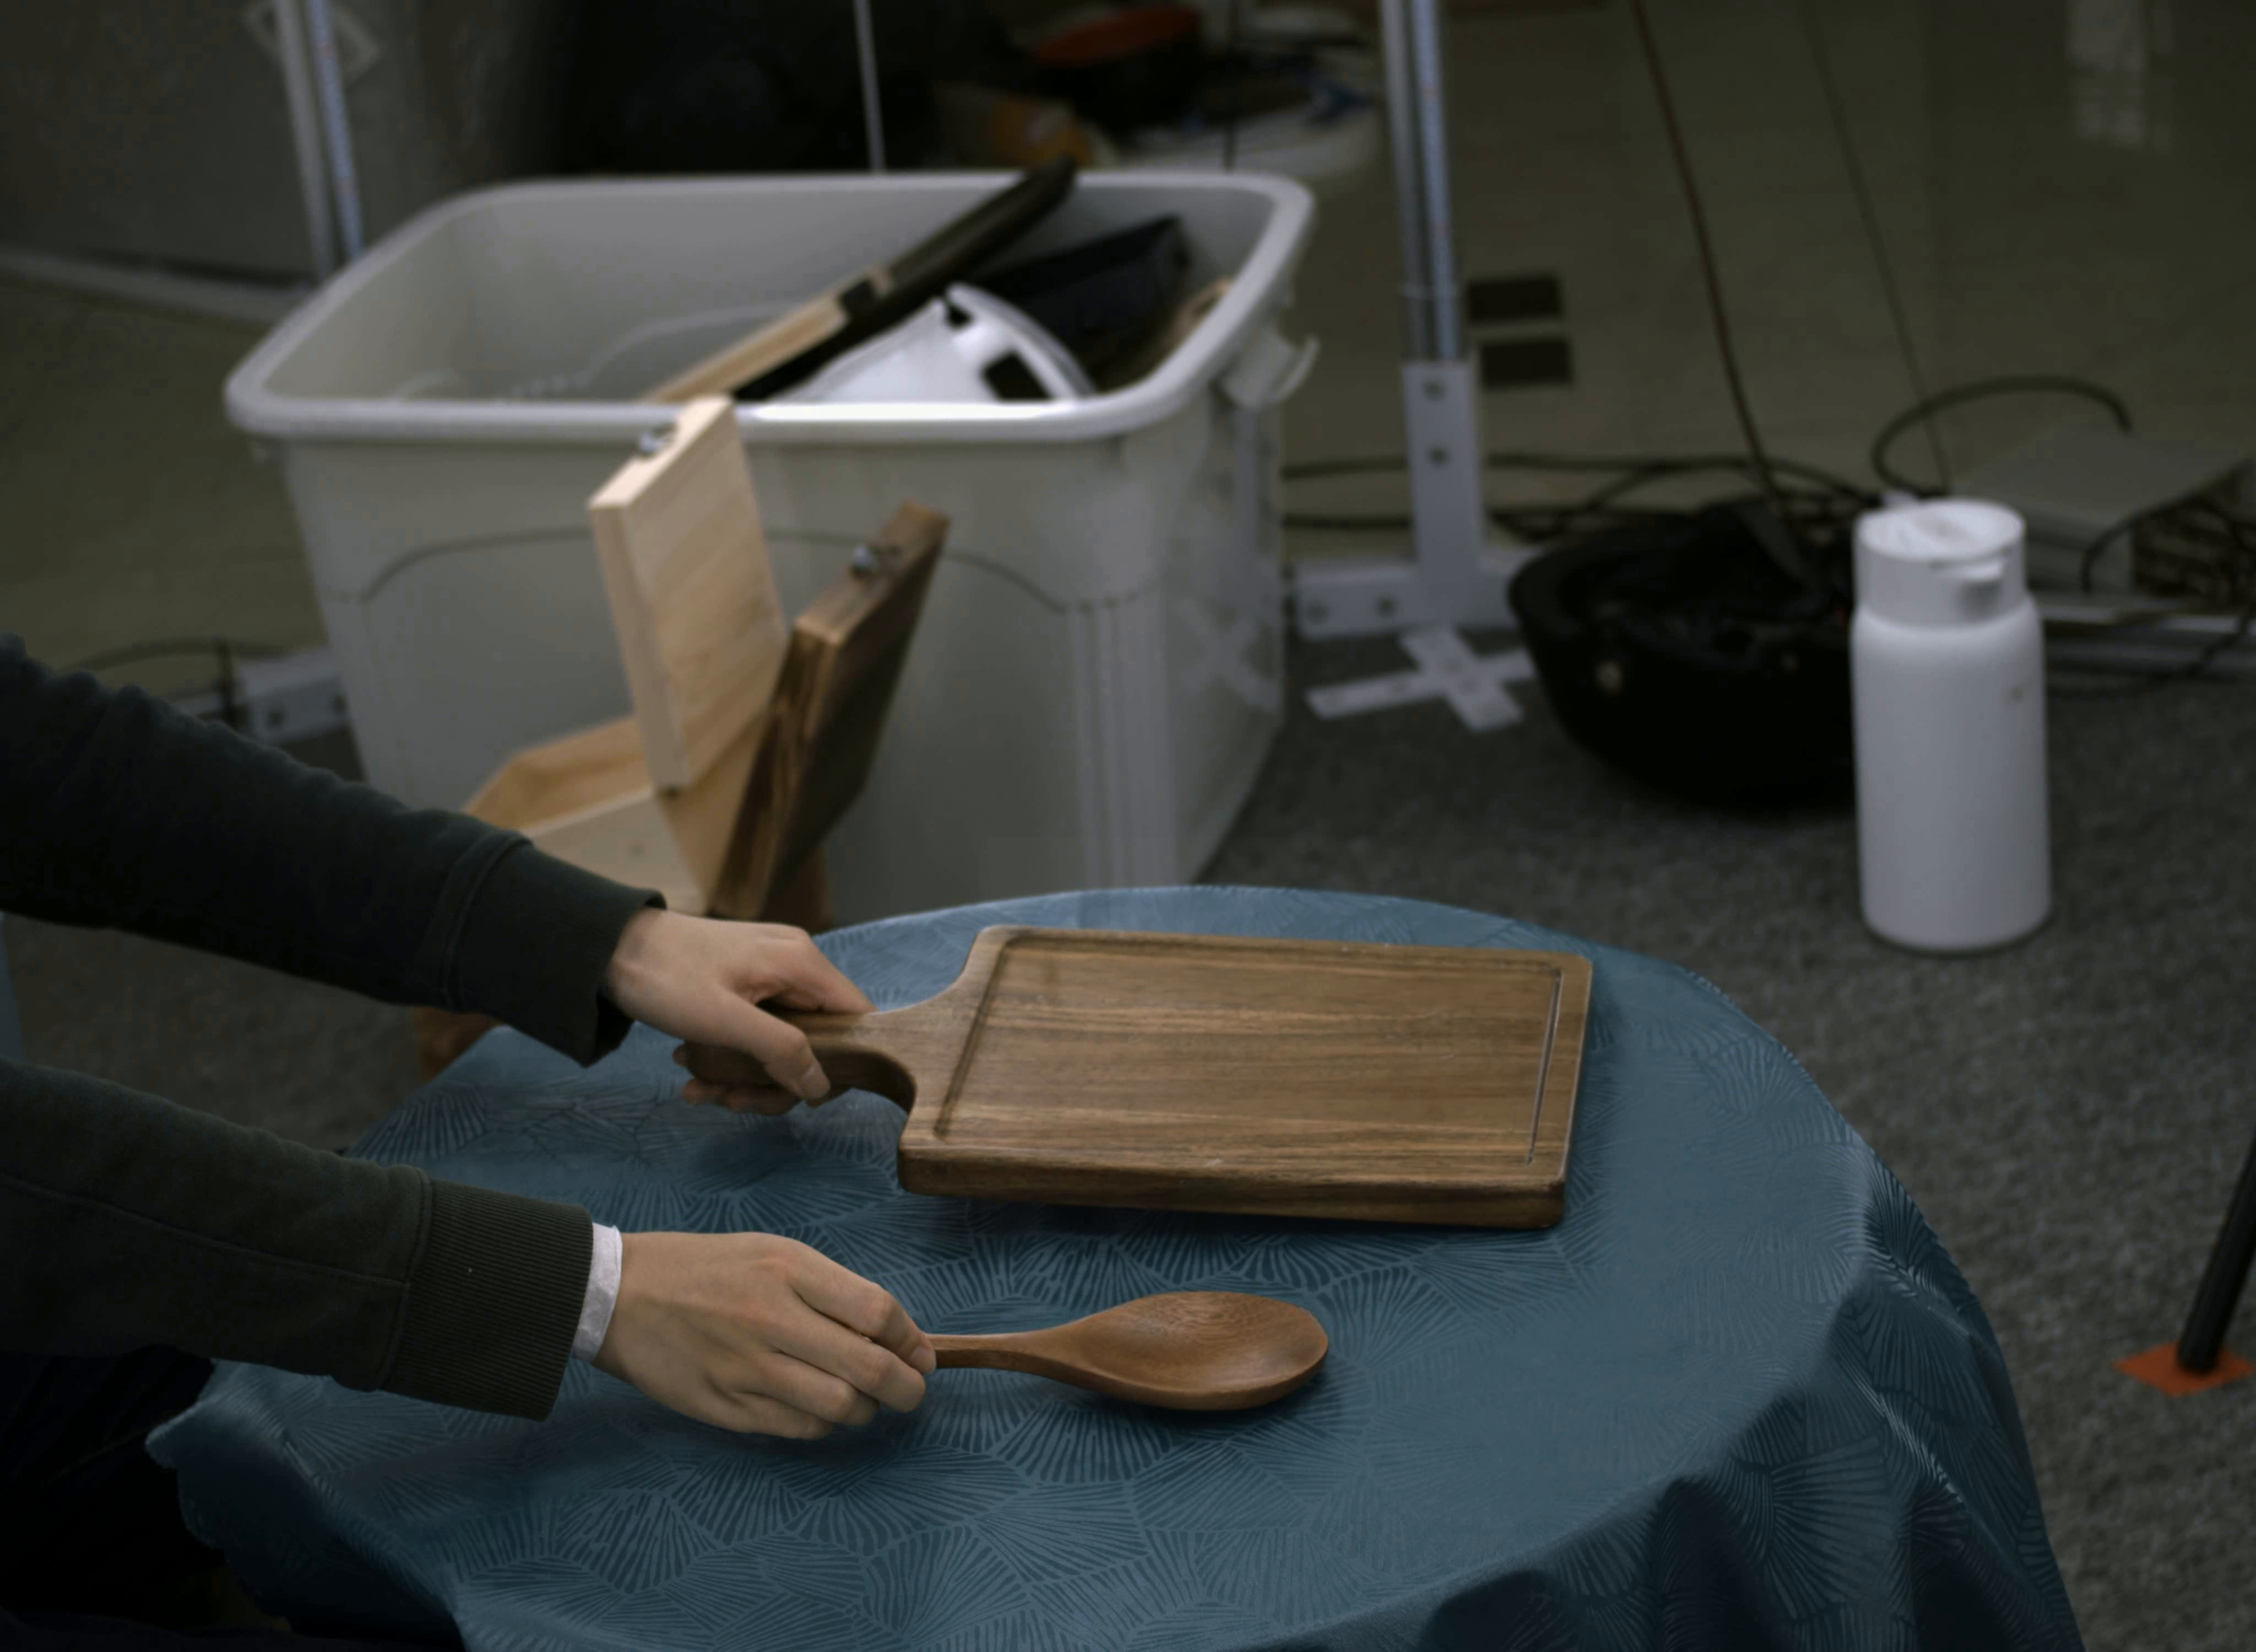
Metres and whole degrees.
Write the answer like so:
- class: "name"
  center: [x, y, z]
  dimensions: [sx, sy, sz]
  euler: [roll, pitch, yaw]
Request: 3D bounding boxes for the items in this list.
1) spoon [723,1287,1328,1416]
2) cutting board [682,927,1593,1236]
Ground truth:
- class: "spoon"
  center: [-0.037, 0.187, 2.020]
  dimensions: [0.215, 0.017, 0.074]
  euler: [2, 27, 2]
- class: "cutting board"
  center: [0.001, 0.094, 2.194]
  dimensions: [0.351, 0.023, 0.198]
  euler: [3, 27, 7]
